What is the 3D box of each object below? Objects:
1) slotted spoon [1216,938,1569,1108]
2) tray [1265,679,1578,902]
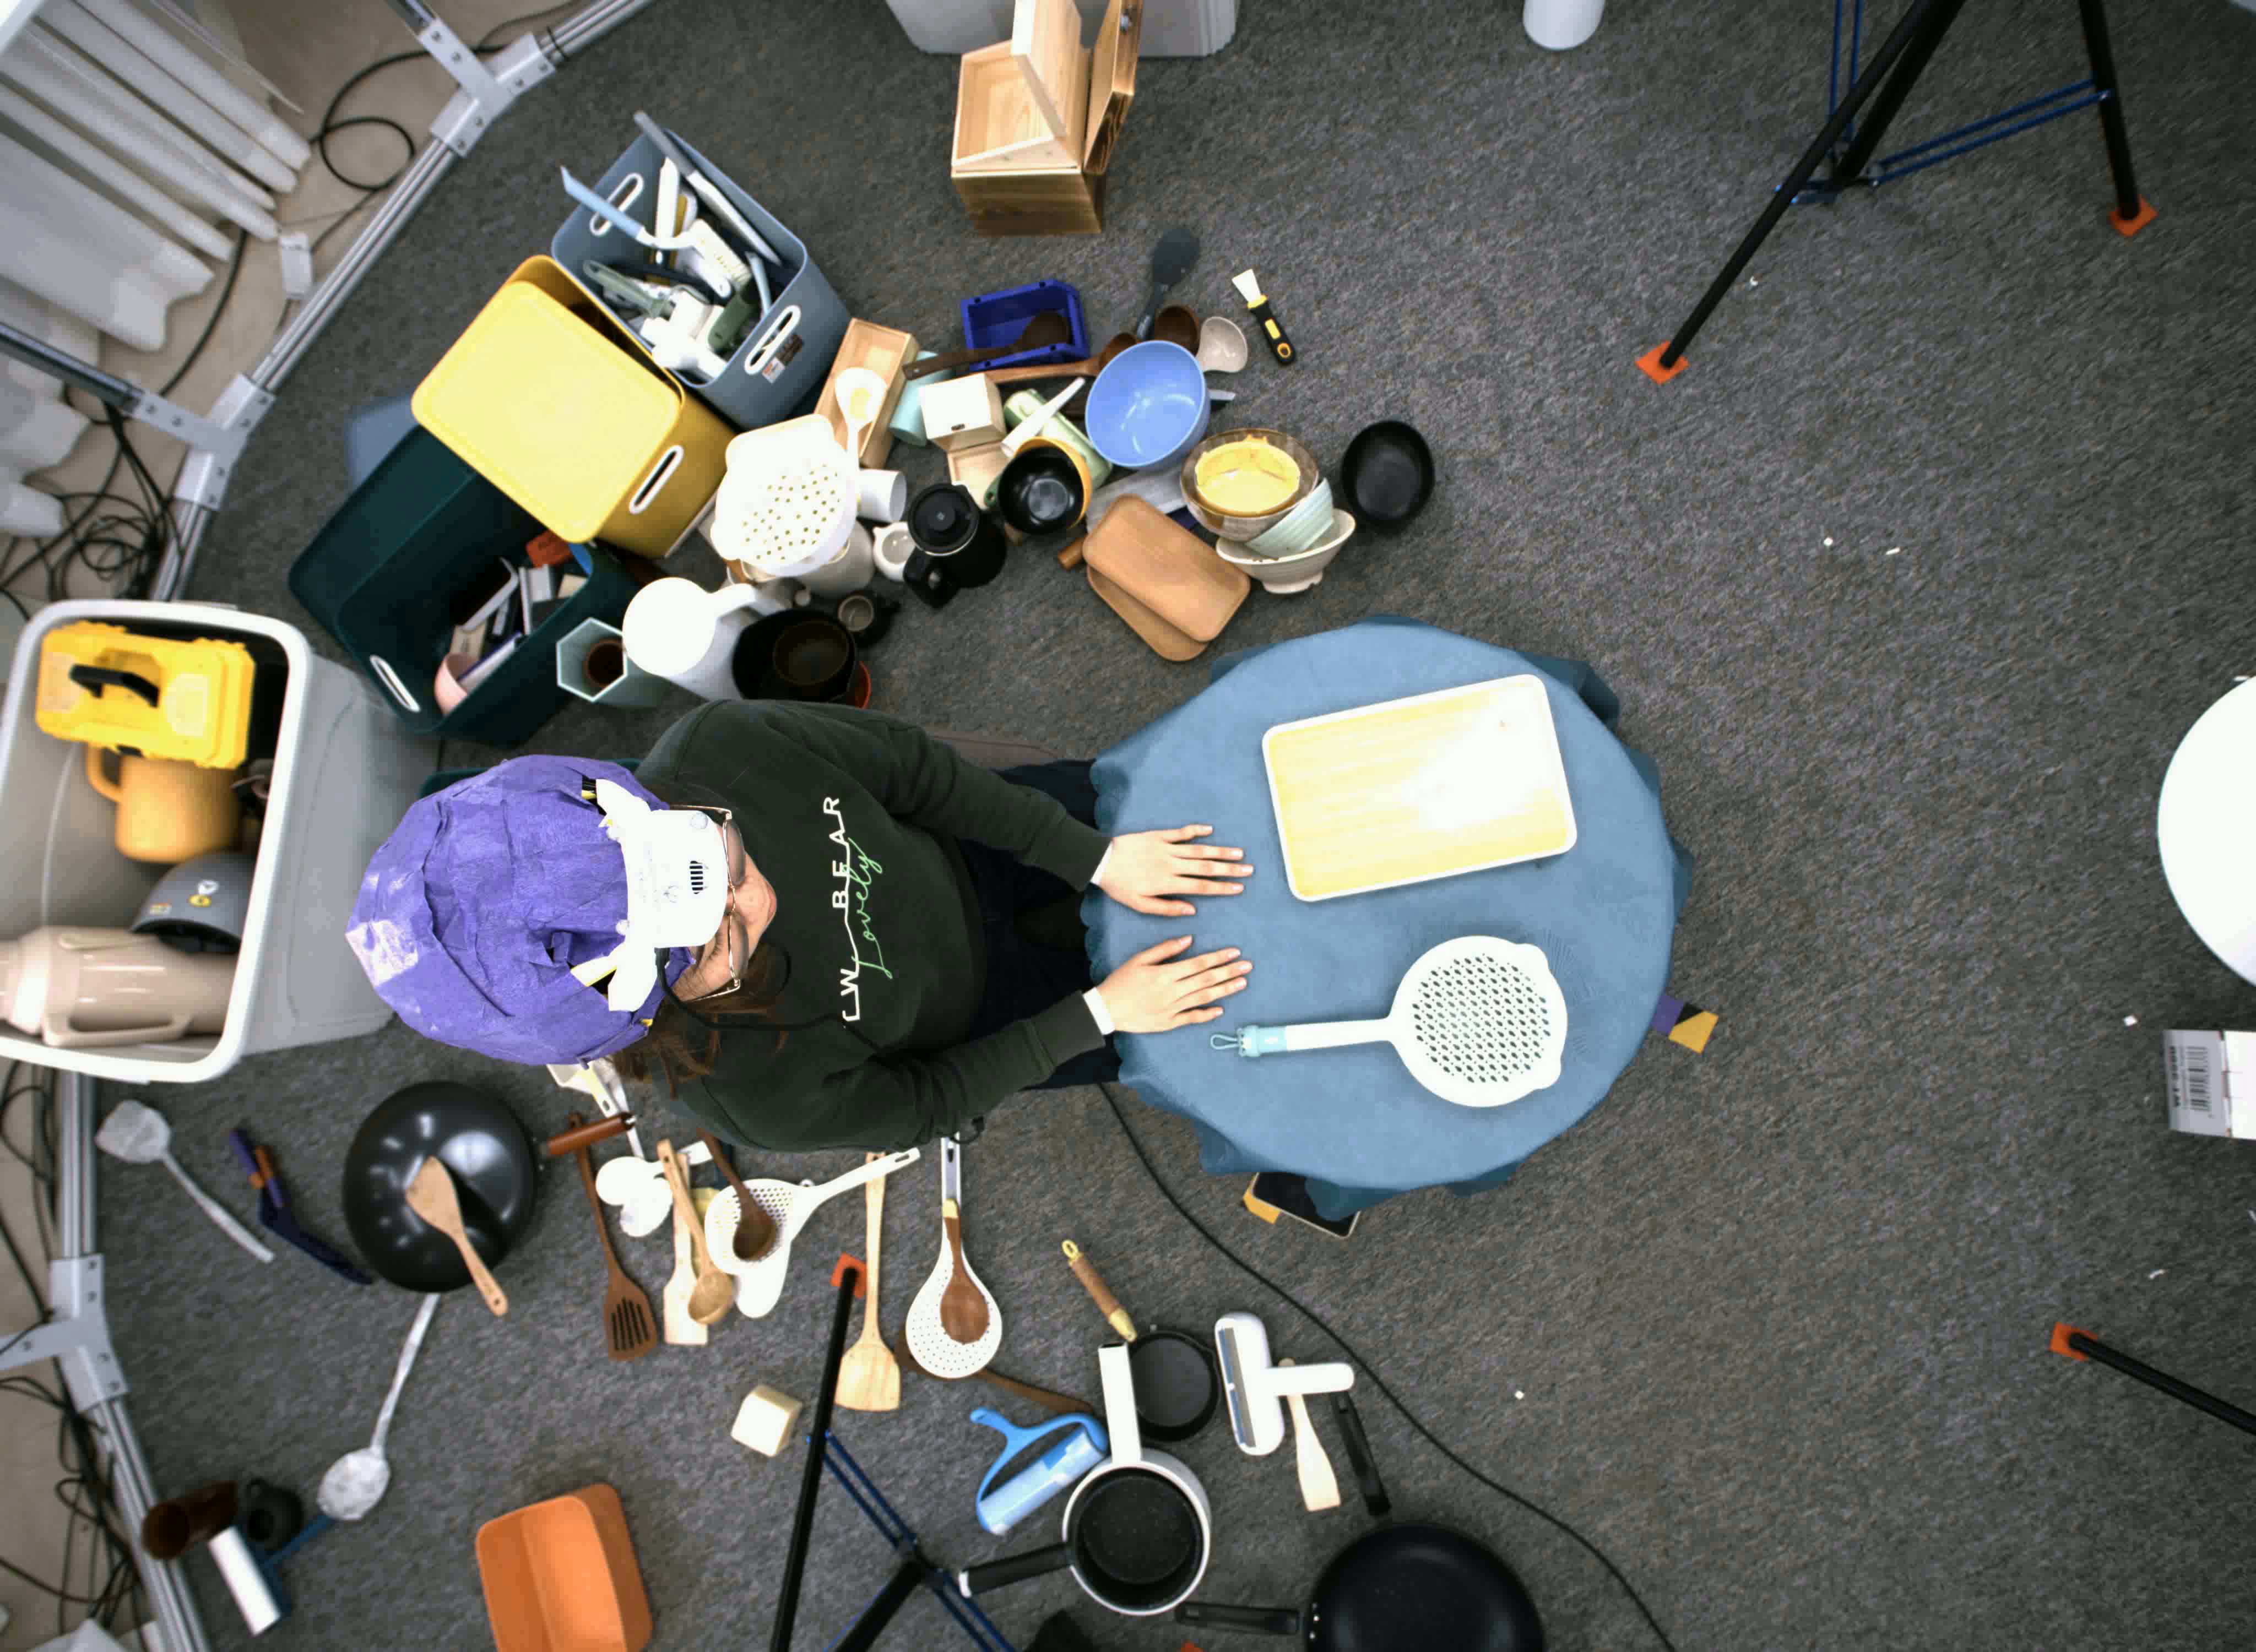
[{"bbox_3d":[0.265,0.209,1.424,0.360,0.075,0.168,-7,84,10],"label":"slotted spoon"},{"bbox_3d":[0.306,-0.038,1.452,0.302,0.027,0.190,-11,84,9],"label":"tray"}]
